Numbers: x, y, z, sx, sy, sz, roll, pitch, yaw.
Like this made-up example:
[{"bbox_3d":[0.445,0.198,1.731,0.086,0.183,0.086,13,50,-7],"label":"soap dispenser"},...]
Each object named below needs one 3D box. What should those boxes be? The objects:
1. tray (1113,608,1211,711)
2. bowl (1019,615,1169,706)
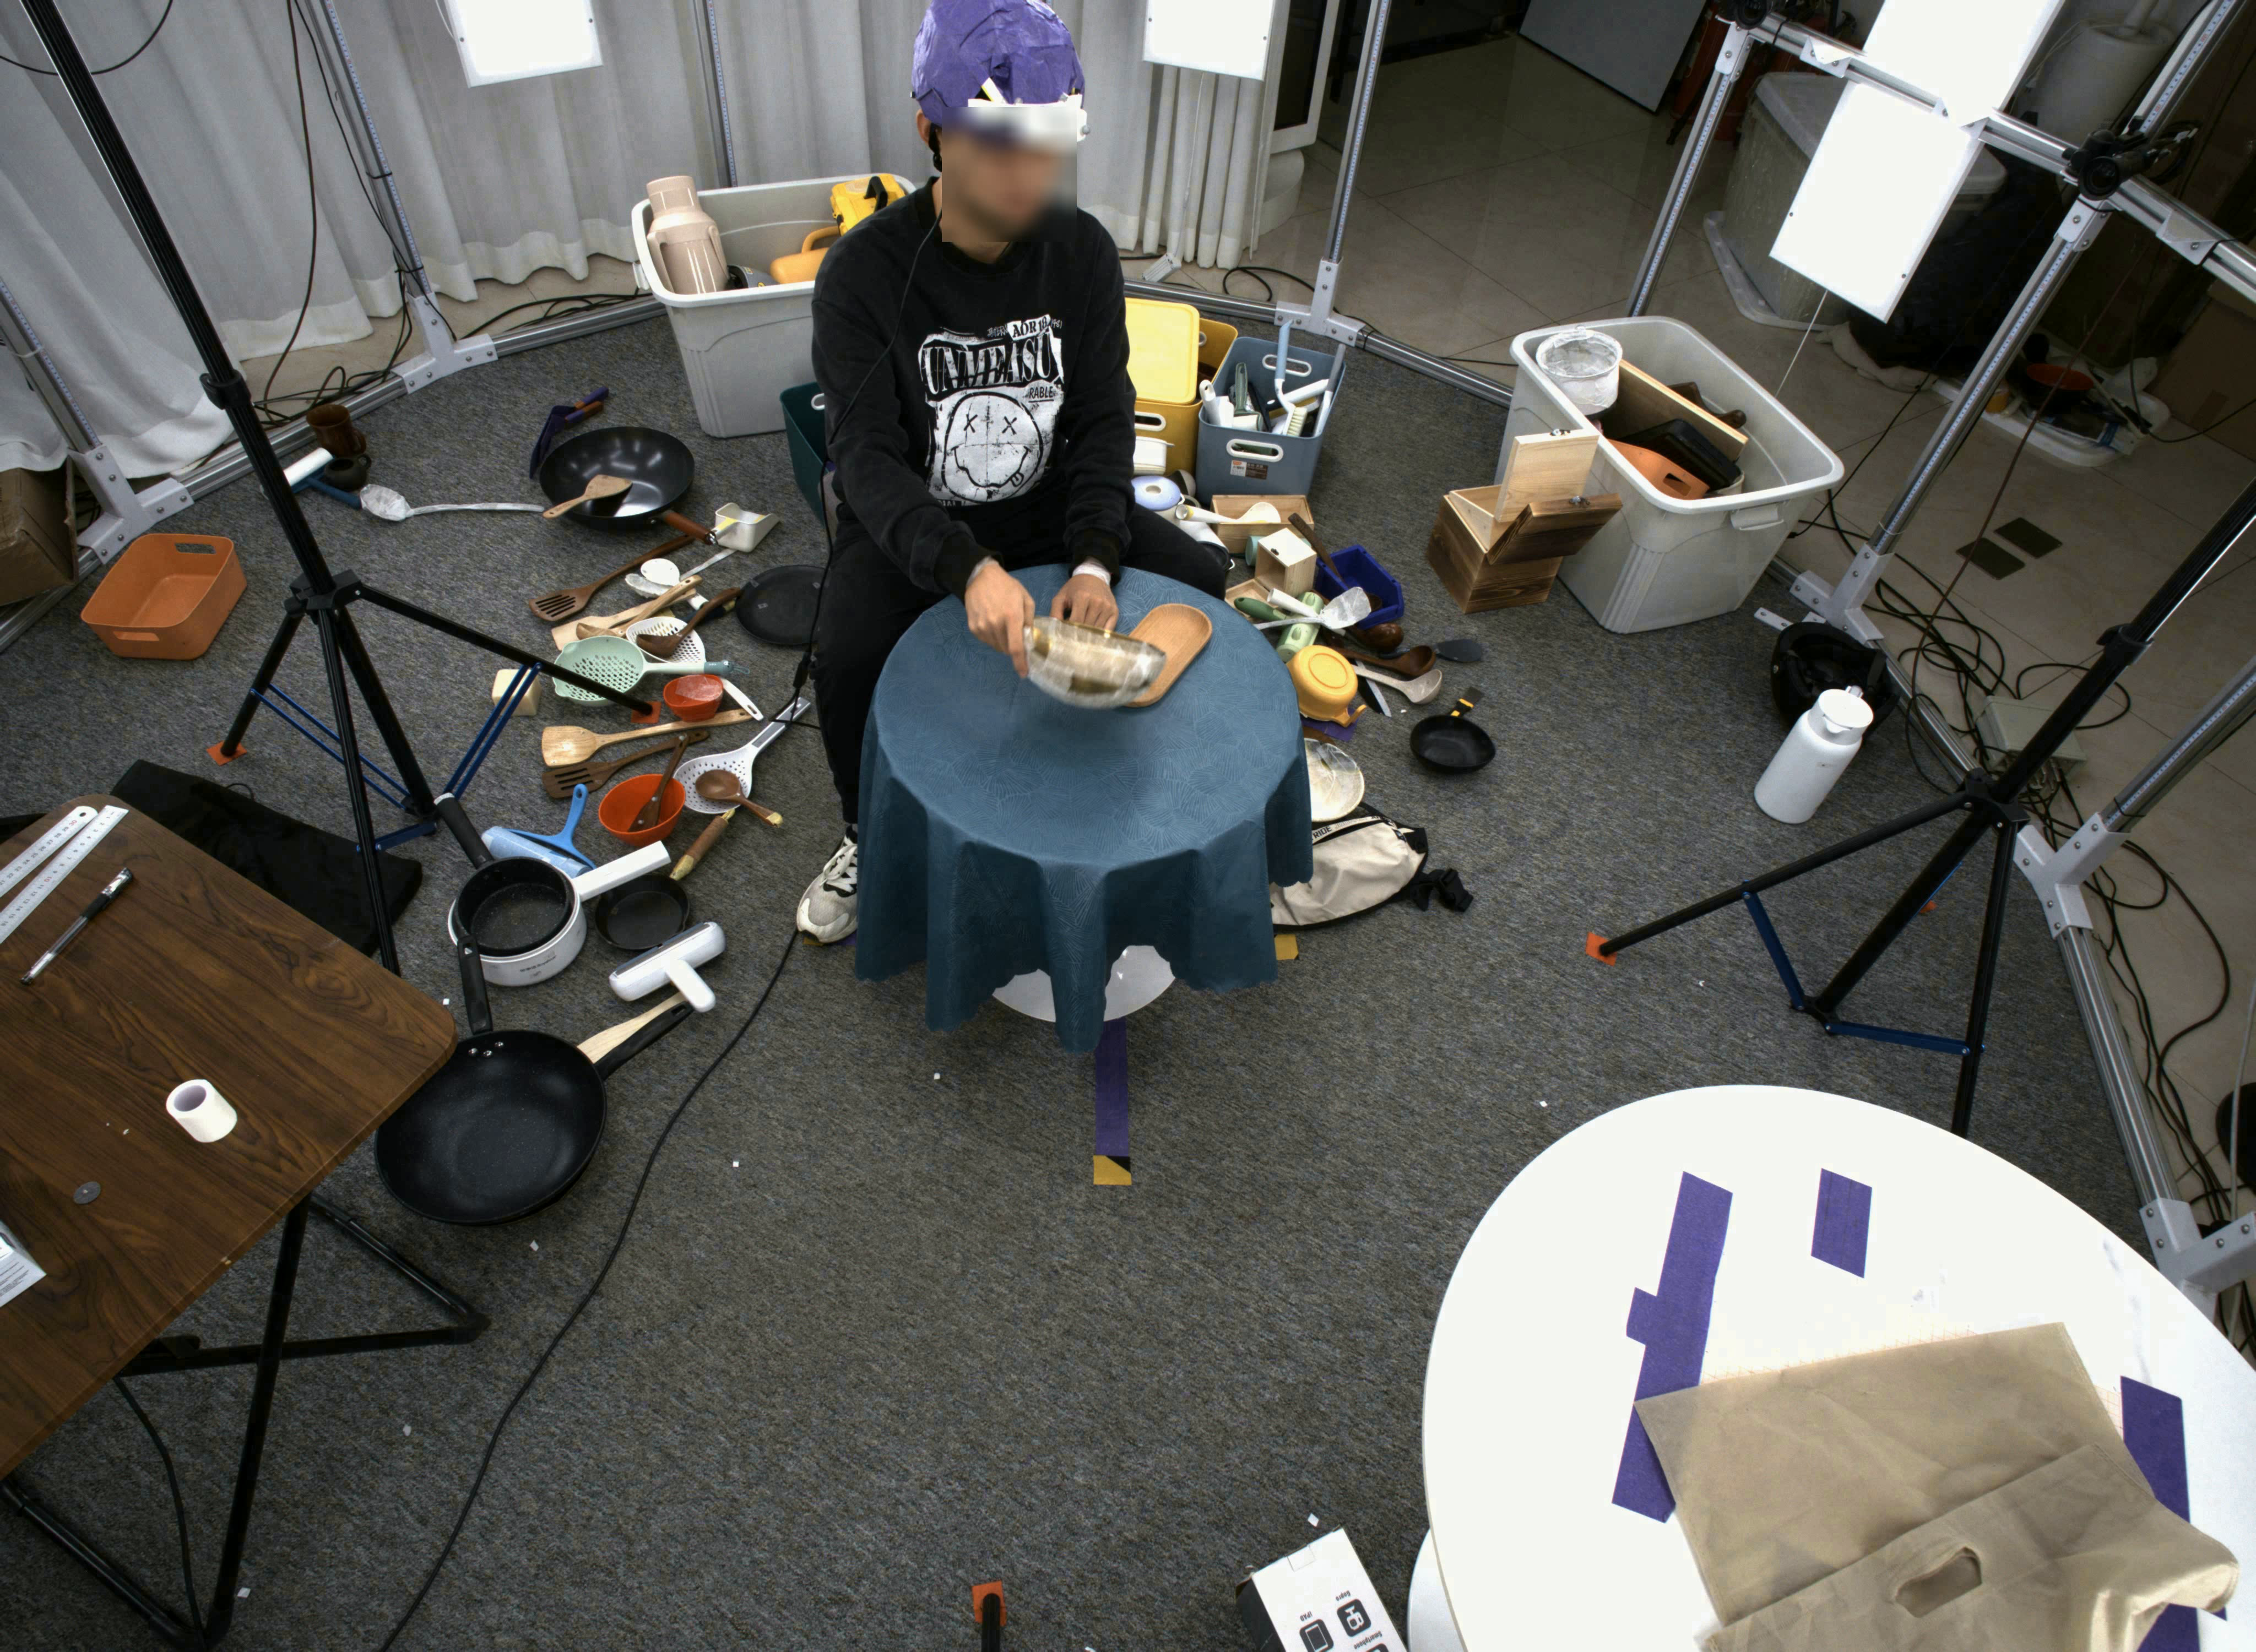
[{"bbox_3d":[0.042,-0.247,1.893,0.102,0.020,0.235,23,53,18],"label":"tray"},{"bbox_3d":[-0.053,-0.215,1.720,0.214,0.093,0.217,12,14,-3],"label":"bowl"}]
